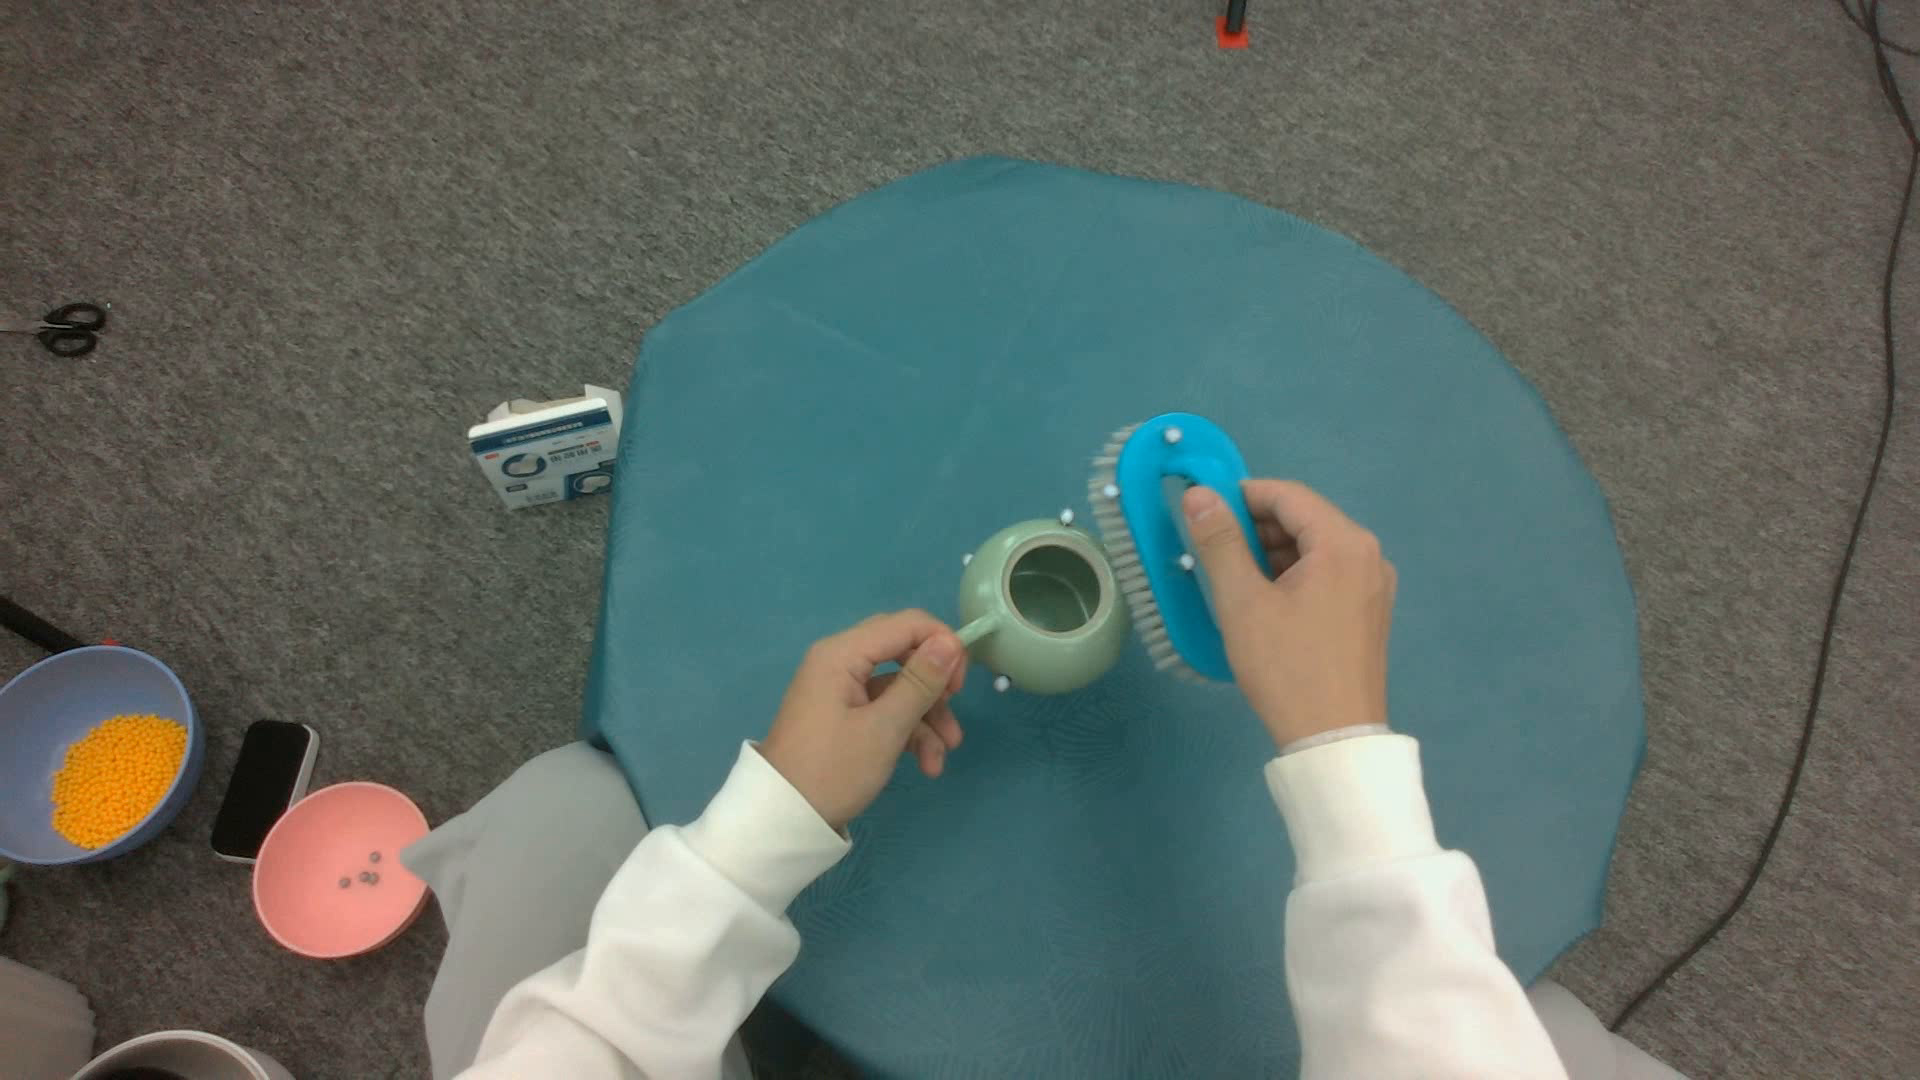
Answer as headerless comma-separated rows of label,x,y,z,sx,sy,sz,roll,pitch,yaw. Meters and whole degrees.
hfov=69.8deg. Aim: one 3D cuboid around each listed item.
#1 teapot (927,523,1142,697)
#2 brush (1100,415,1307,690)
teapot,0.040,0.040,0.713,0.129,0.060,0.091,-24,73,-17
brush,0.129,0.003,0.678,0.084,0.063,0.142,-19,89,-26
